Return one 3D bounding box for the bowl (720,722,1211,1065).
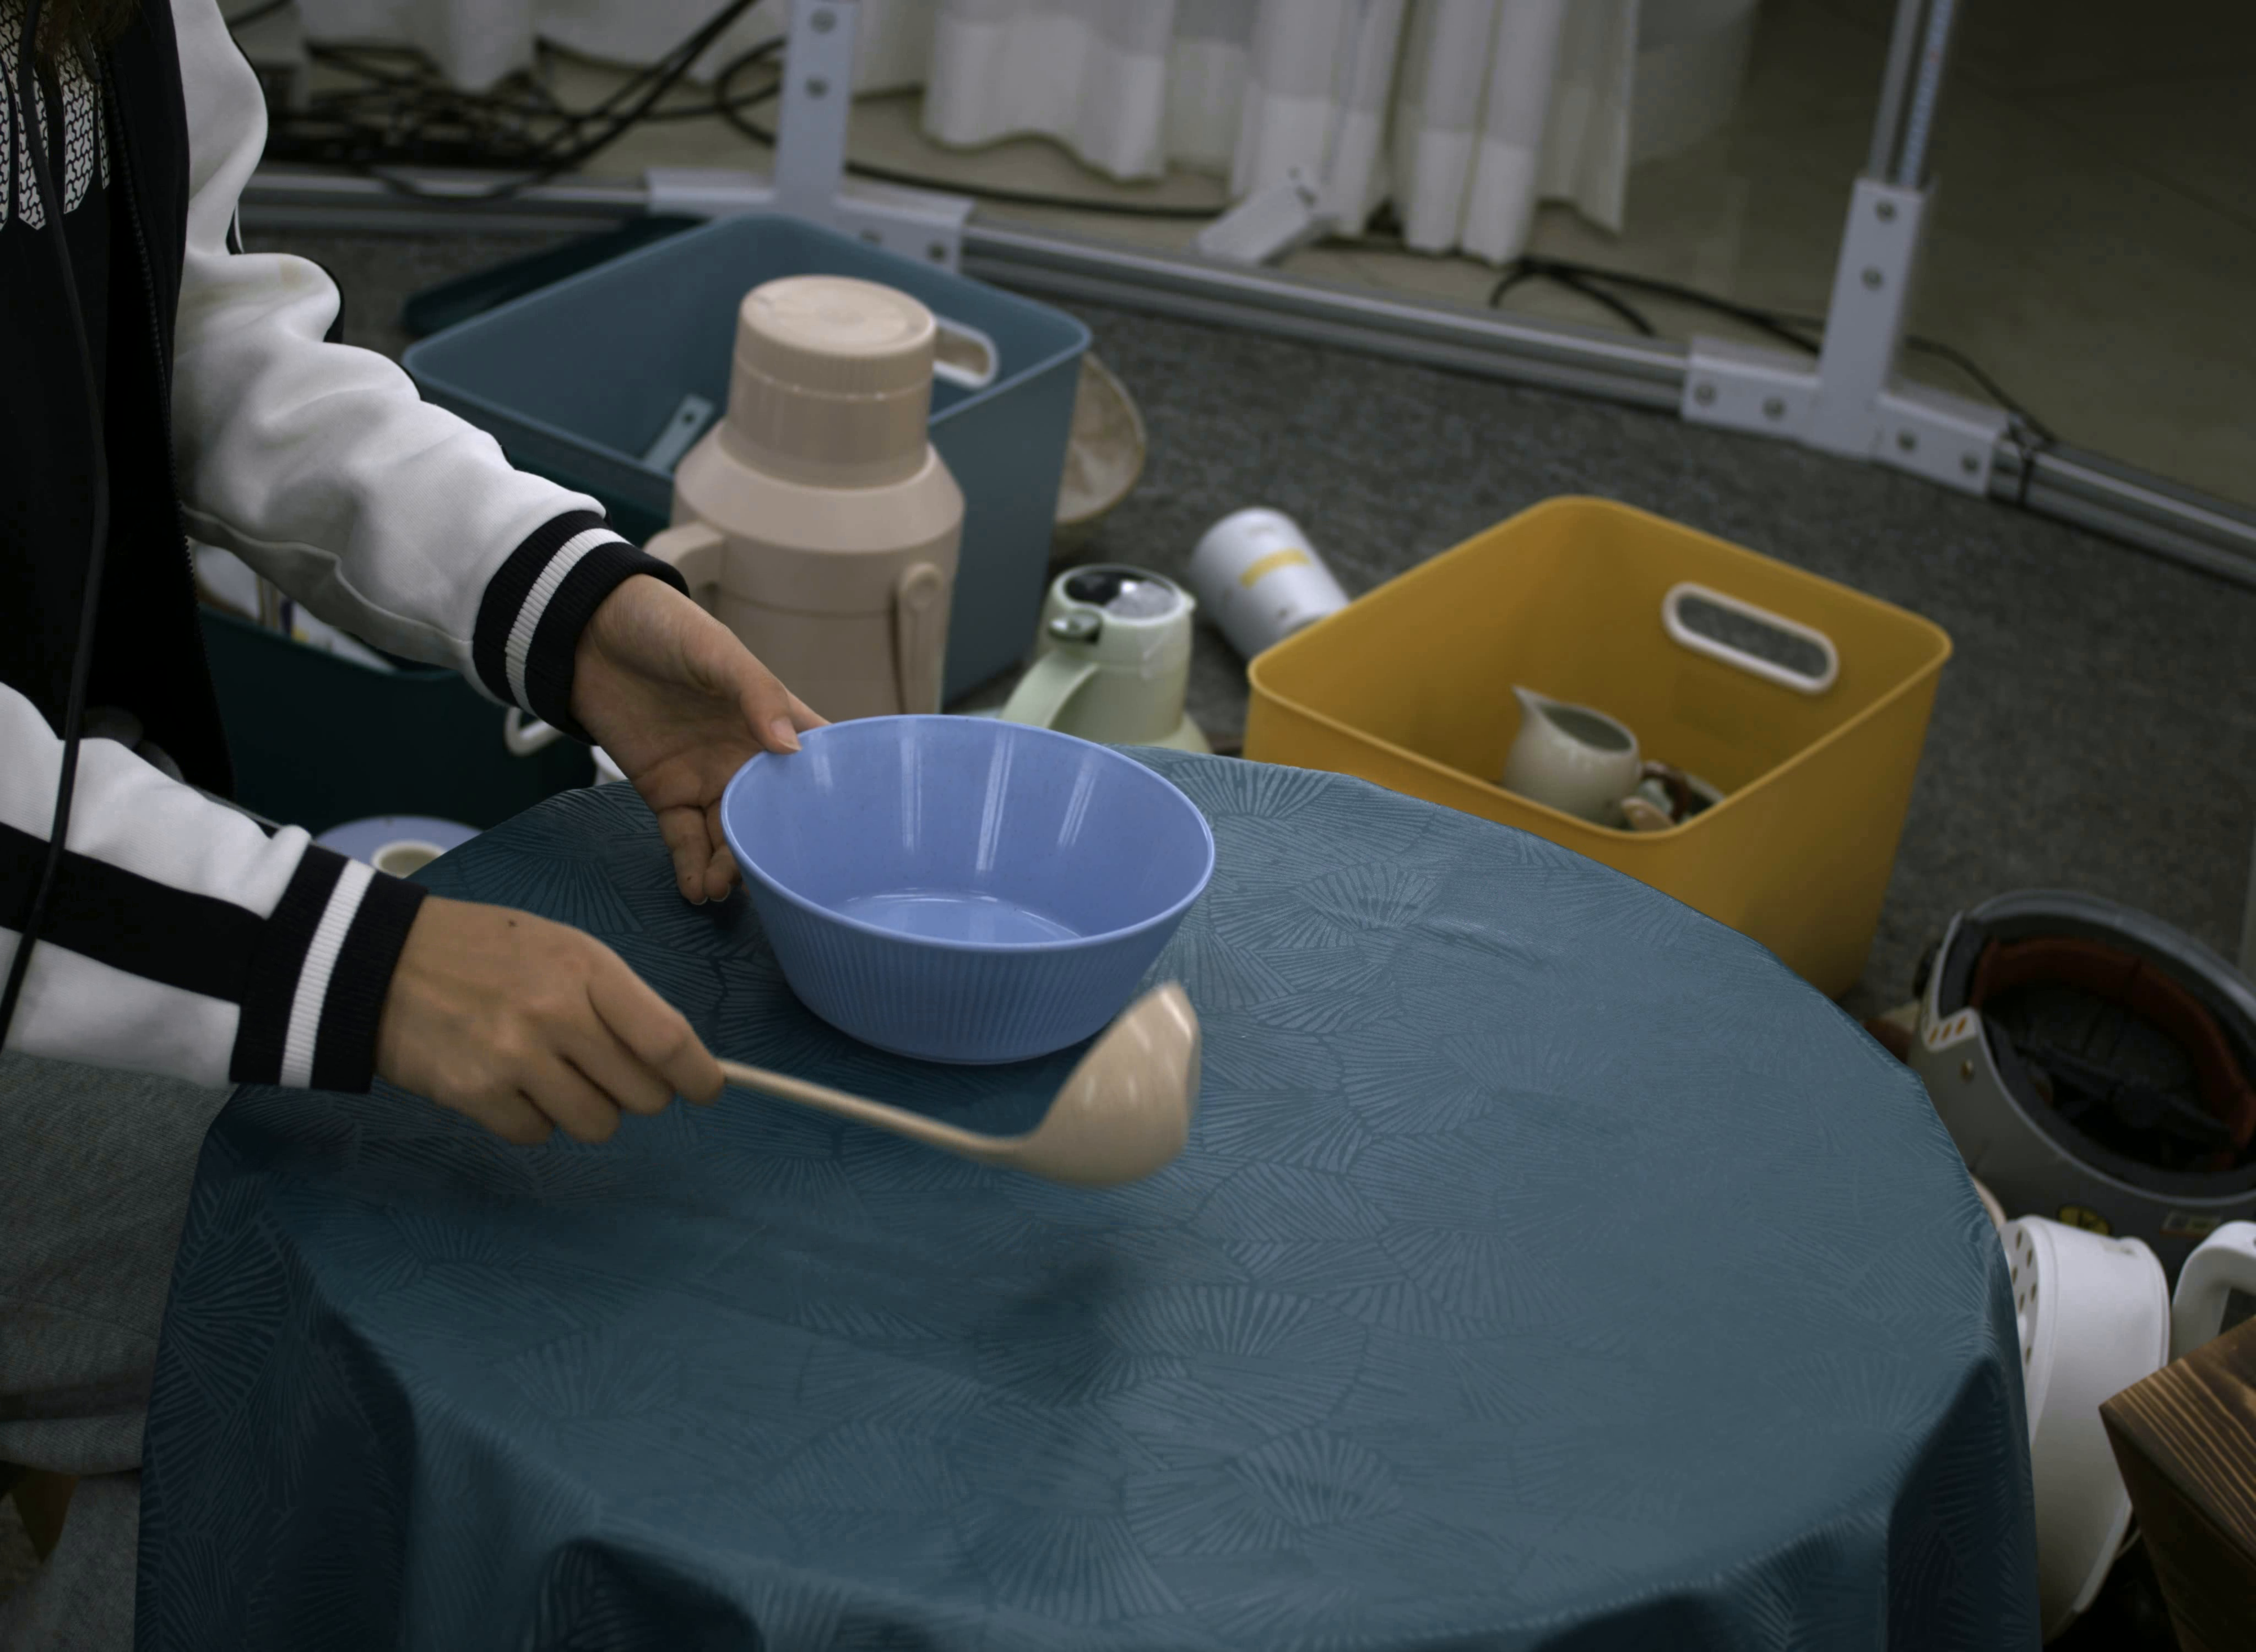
[{"bbox_3d":[-0.061,0.029,1.896,0.175,0.070,0.177,6,26,-3],"label":"bowl"}]

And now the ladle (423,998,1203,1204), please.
[{"bbox_3d":[-0.100,0.065,1.743,0.254,0.072,0.073,14,72,8],"label":"ladle"}]
